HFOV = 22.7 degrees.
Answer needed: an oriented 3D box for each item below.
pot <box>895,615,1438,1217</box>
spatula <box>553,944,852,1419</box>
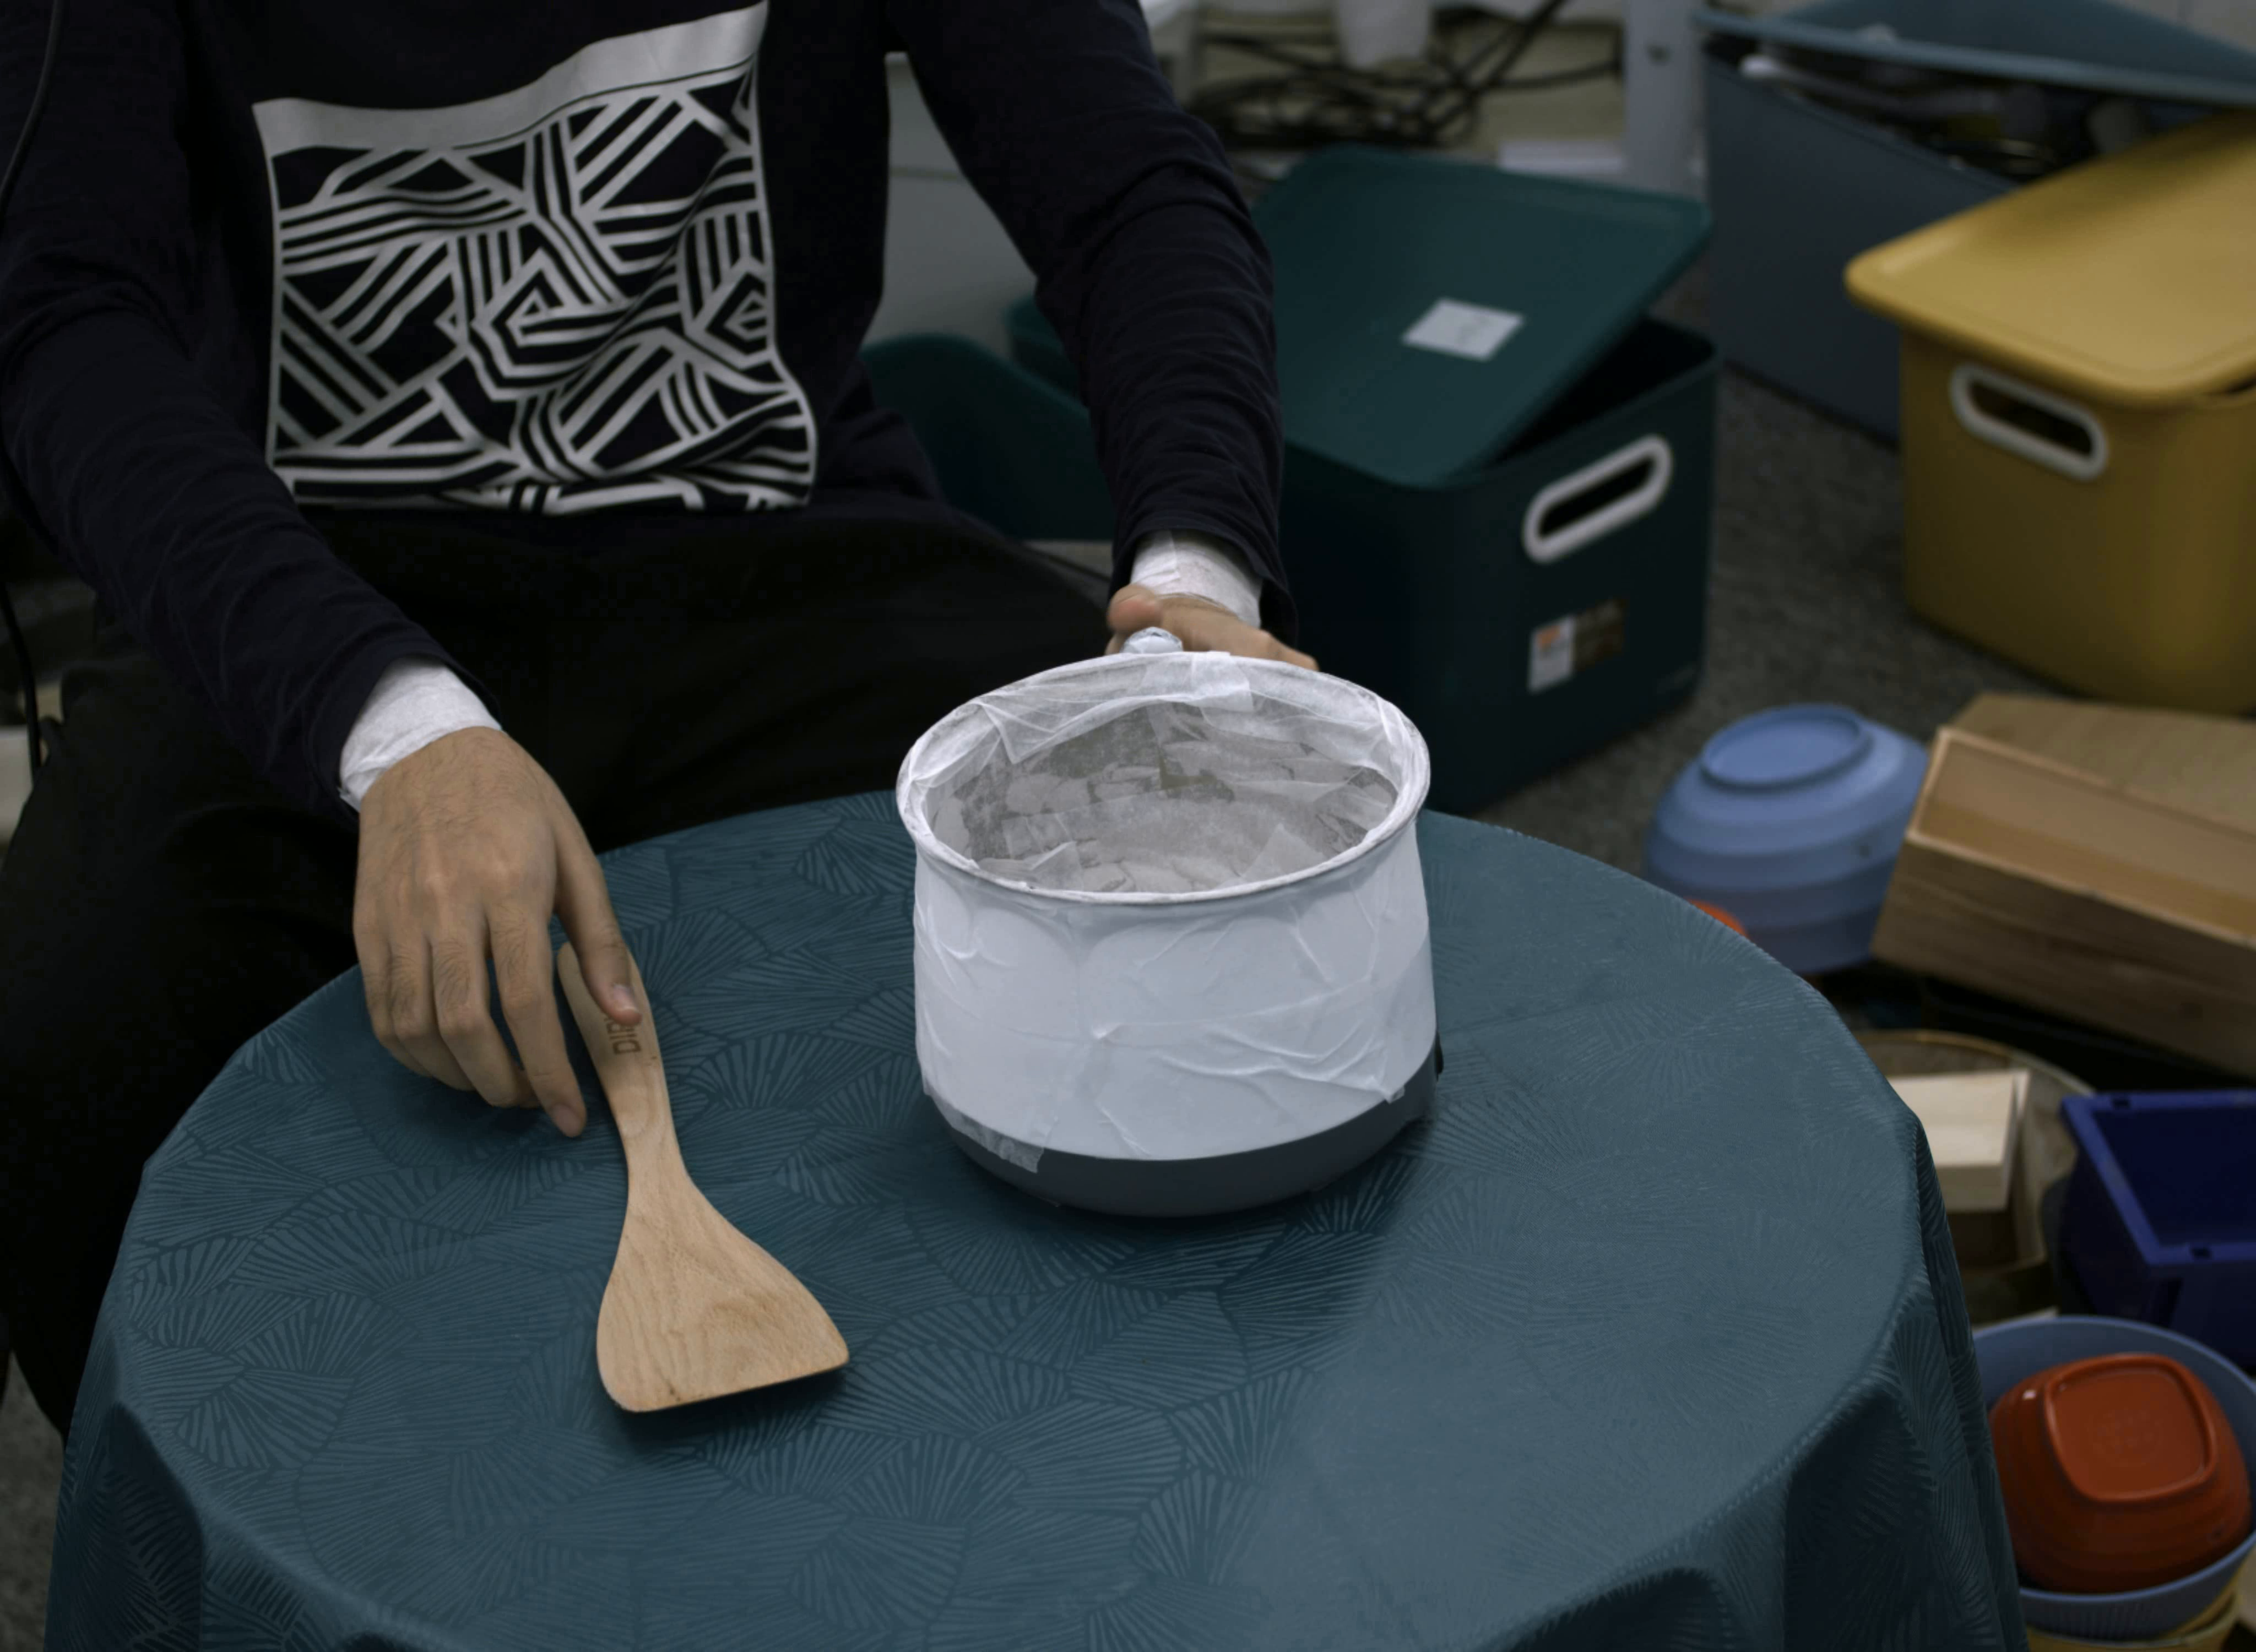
[{"bbox_3d":[0.012,0.023,1.898,0.178,0.135,0.237,-3,28,-3],"label":"pot"},{"bbox_3d":[-0.157,0.112,1.876,0.080,0.016,0.331,-9,27,-10],"label":"spatula"}]
